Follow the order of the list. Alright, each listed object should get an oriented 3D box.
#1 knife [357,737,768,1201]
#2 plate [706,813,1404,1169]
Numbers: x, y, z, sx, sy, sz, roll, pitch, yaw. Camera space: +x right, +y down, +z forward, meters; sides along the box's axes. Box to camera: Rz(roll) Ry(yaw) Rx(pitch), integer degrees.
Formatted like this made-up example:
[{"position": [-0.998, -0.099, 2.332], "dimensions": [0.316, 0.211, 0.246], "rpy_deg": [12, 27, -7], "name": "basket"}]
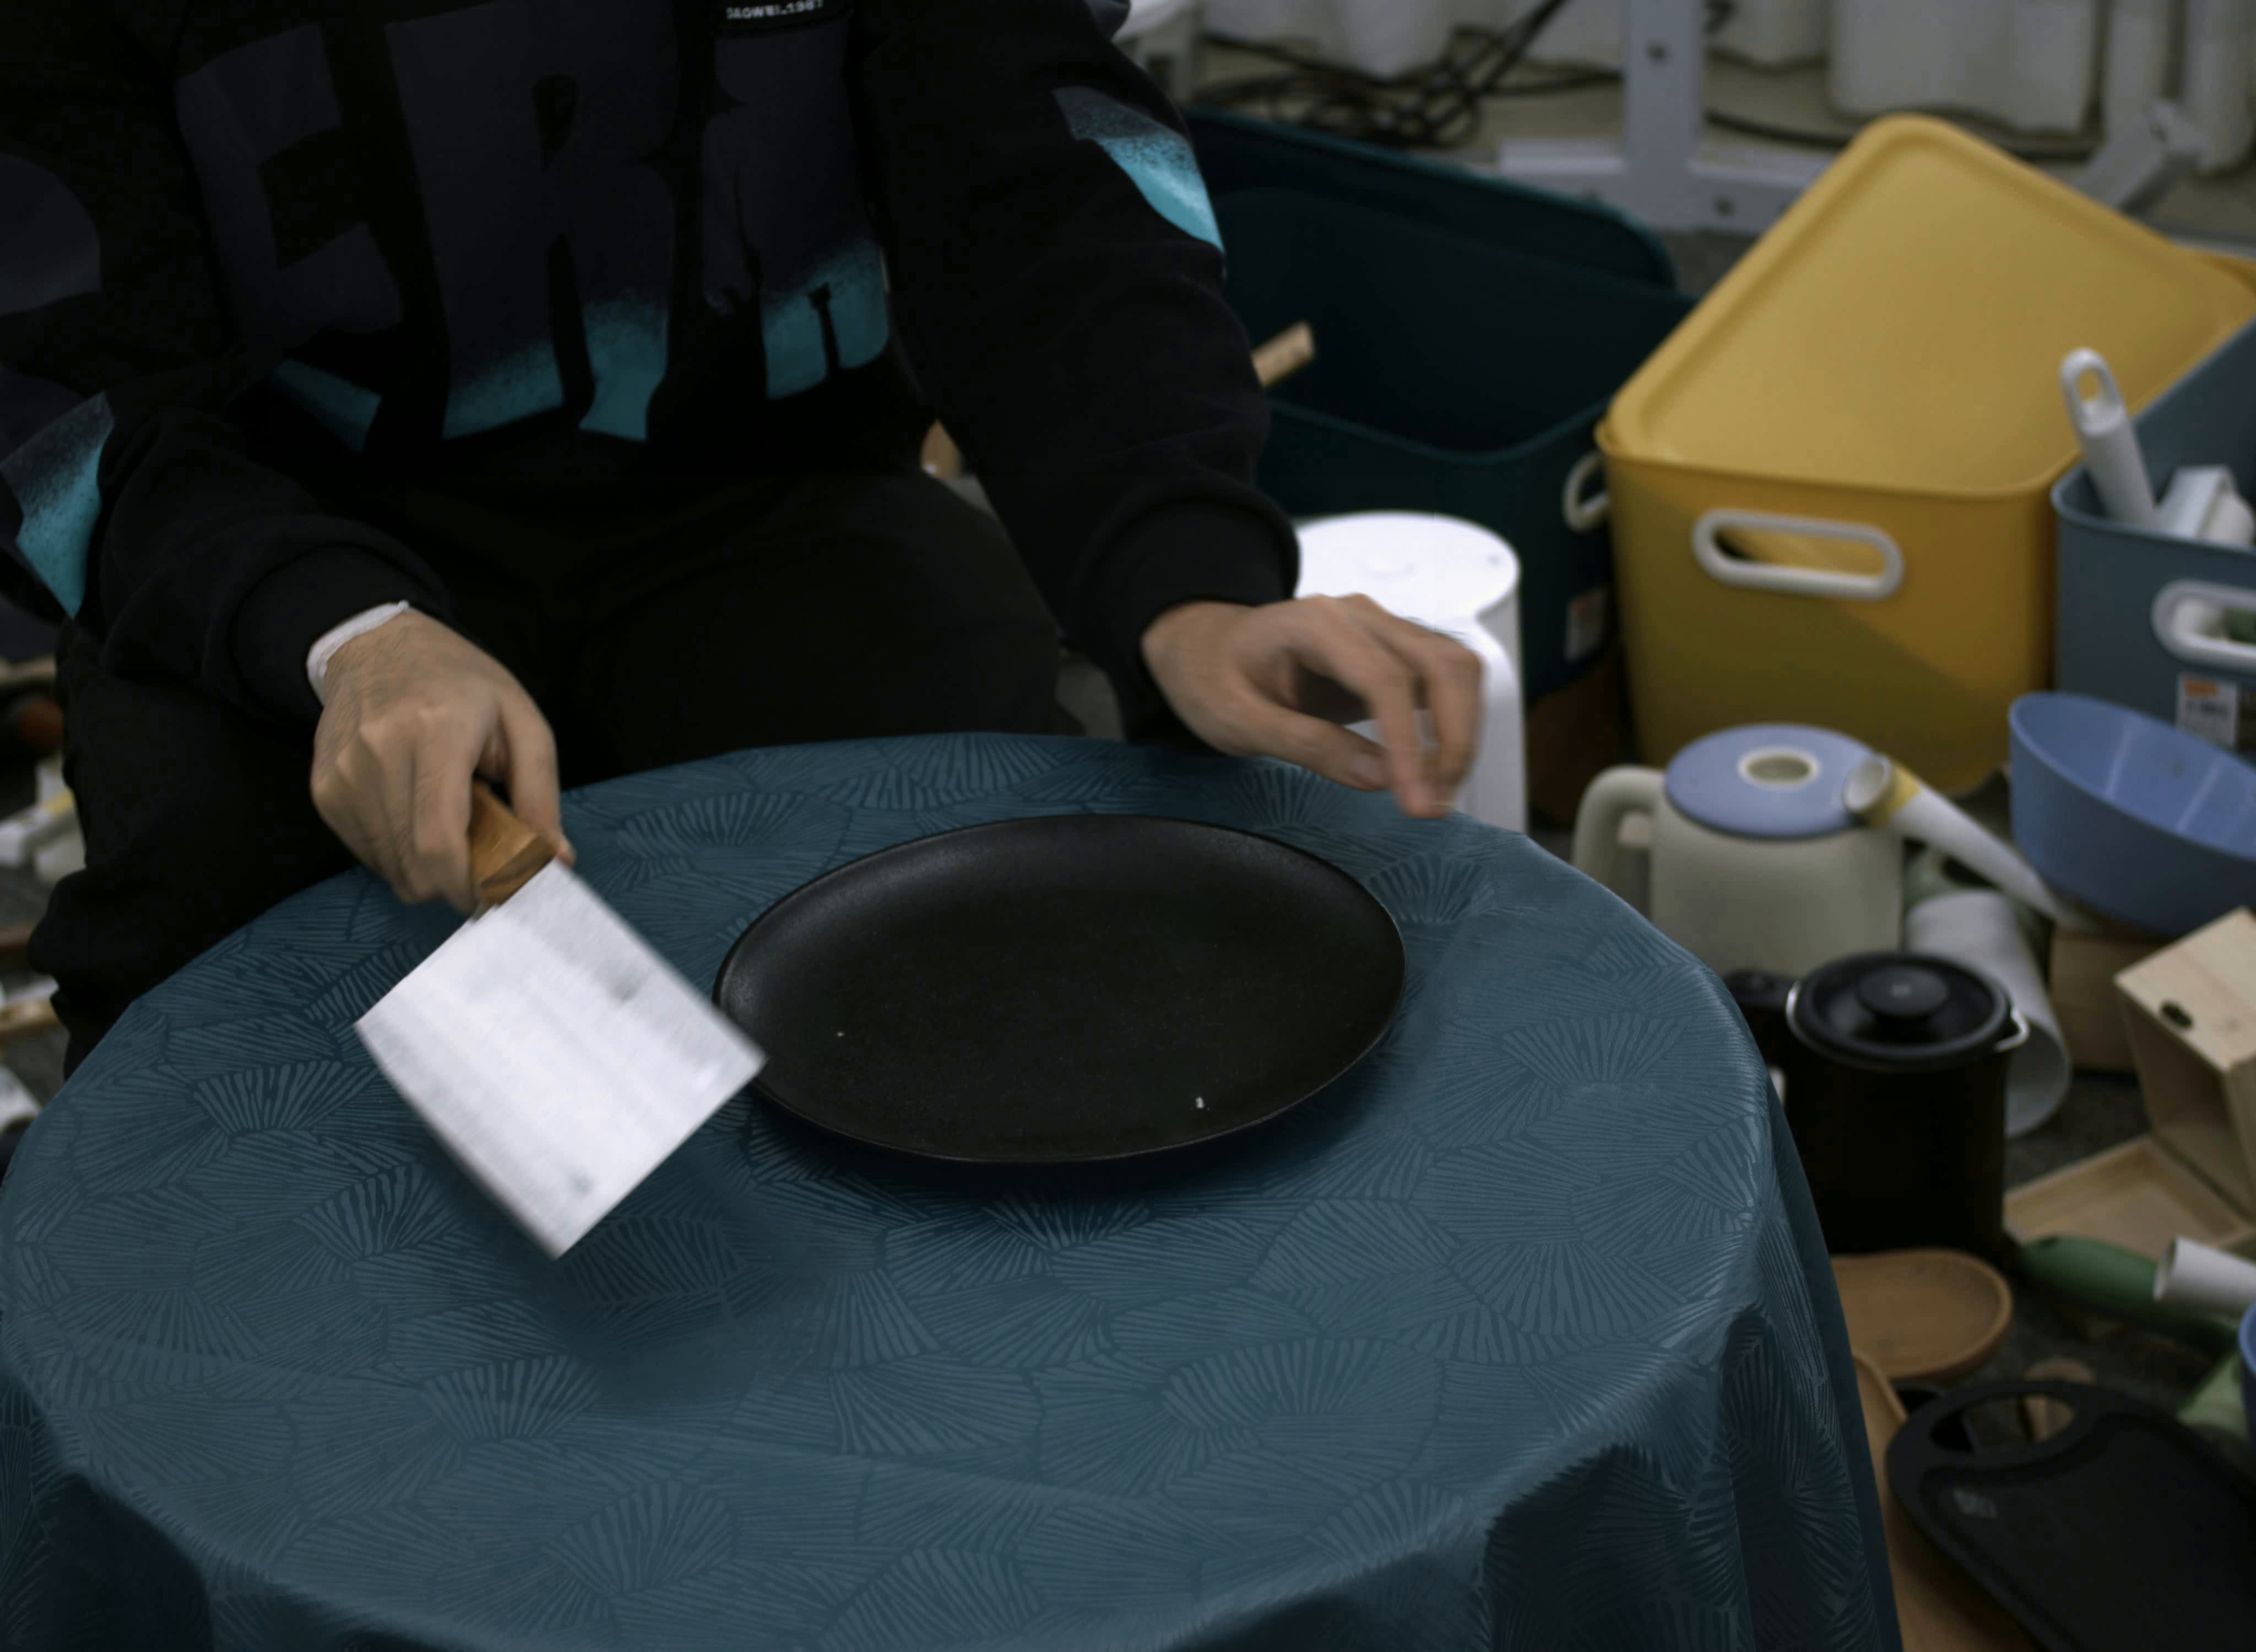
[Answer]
[{"position": [-0.212, 0.049, 1.891], "dimensions": [0.093, 0.021, 0.307], "rpy_deg": [-44, 34, -7], "name": "knife"}, {"position": [-0.025, 0.062, 1.953], "dimensions": [0.243, 0.023, 0.248], "rpy_deg": [-2, 28, 1], "name": "plate"}]
